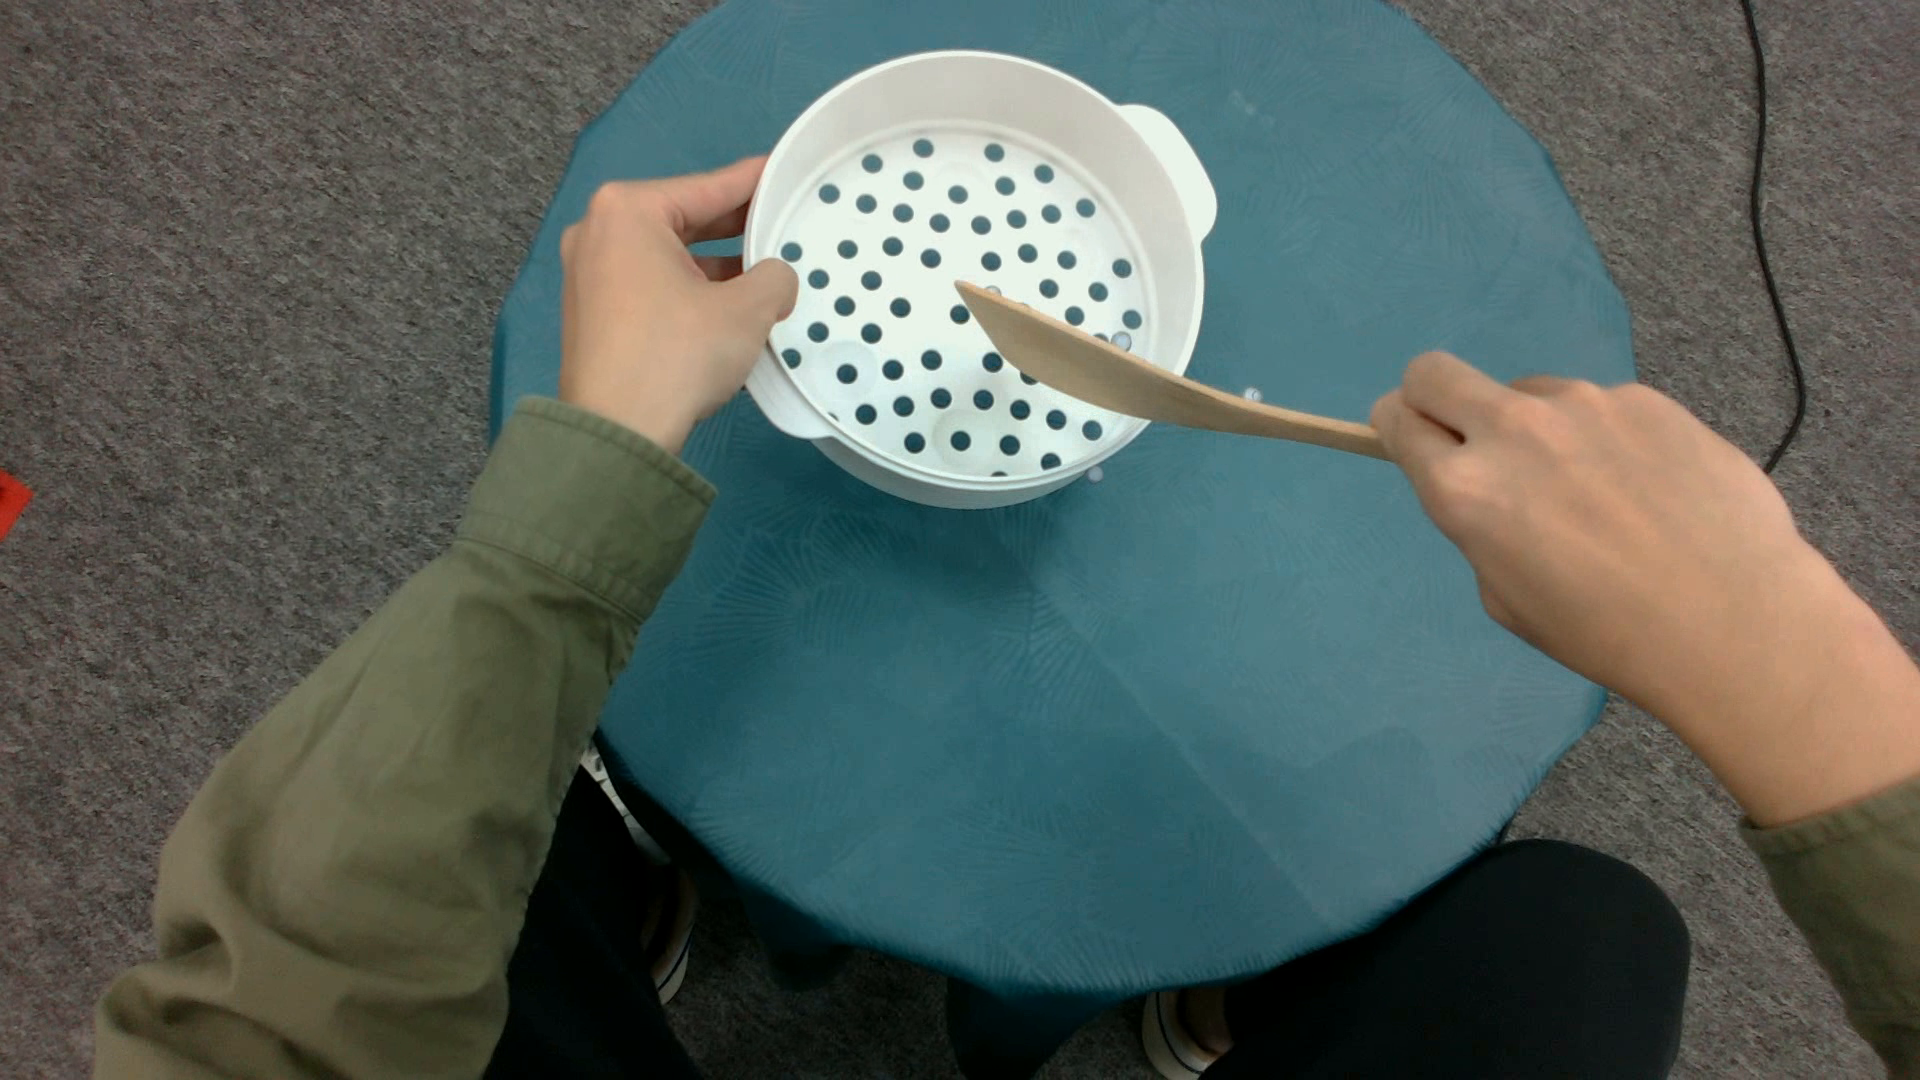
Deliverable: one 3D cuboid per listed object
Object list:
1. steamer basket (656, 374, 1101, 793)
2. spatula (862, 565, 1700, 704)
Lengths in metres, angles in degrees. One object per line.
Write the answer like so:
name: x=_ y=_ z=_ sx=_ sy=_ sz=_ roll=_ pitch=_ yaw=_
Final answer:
steamer basket: x=-0.036 y=0.021 z=0.662 sx=0.231 sy=0.069 sz=0.202 roll=-37 pitch=73 yaw=-20
spatula: x=0.099 y=0.038 z=0.528 sx=0.327 sy=0.080 sz=0.016 roll=2 pitch=62 yaw=33
